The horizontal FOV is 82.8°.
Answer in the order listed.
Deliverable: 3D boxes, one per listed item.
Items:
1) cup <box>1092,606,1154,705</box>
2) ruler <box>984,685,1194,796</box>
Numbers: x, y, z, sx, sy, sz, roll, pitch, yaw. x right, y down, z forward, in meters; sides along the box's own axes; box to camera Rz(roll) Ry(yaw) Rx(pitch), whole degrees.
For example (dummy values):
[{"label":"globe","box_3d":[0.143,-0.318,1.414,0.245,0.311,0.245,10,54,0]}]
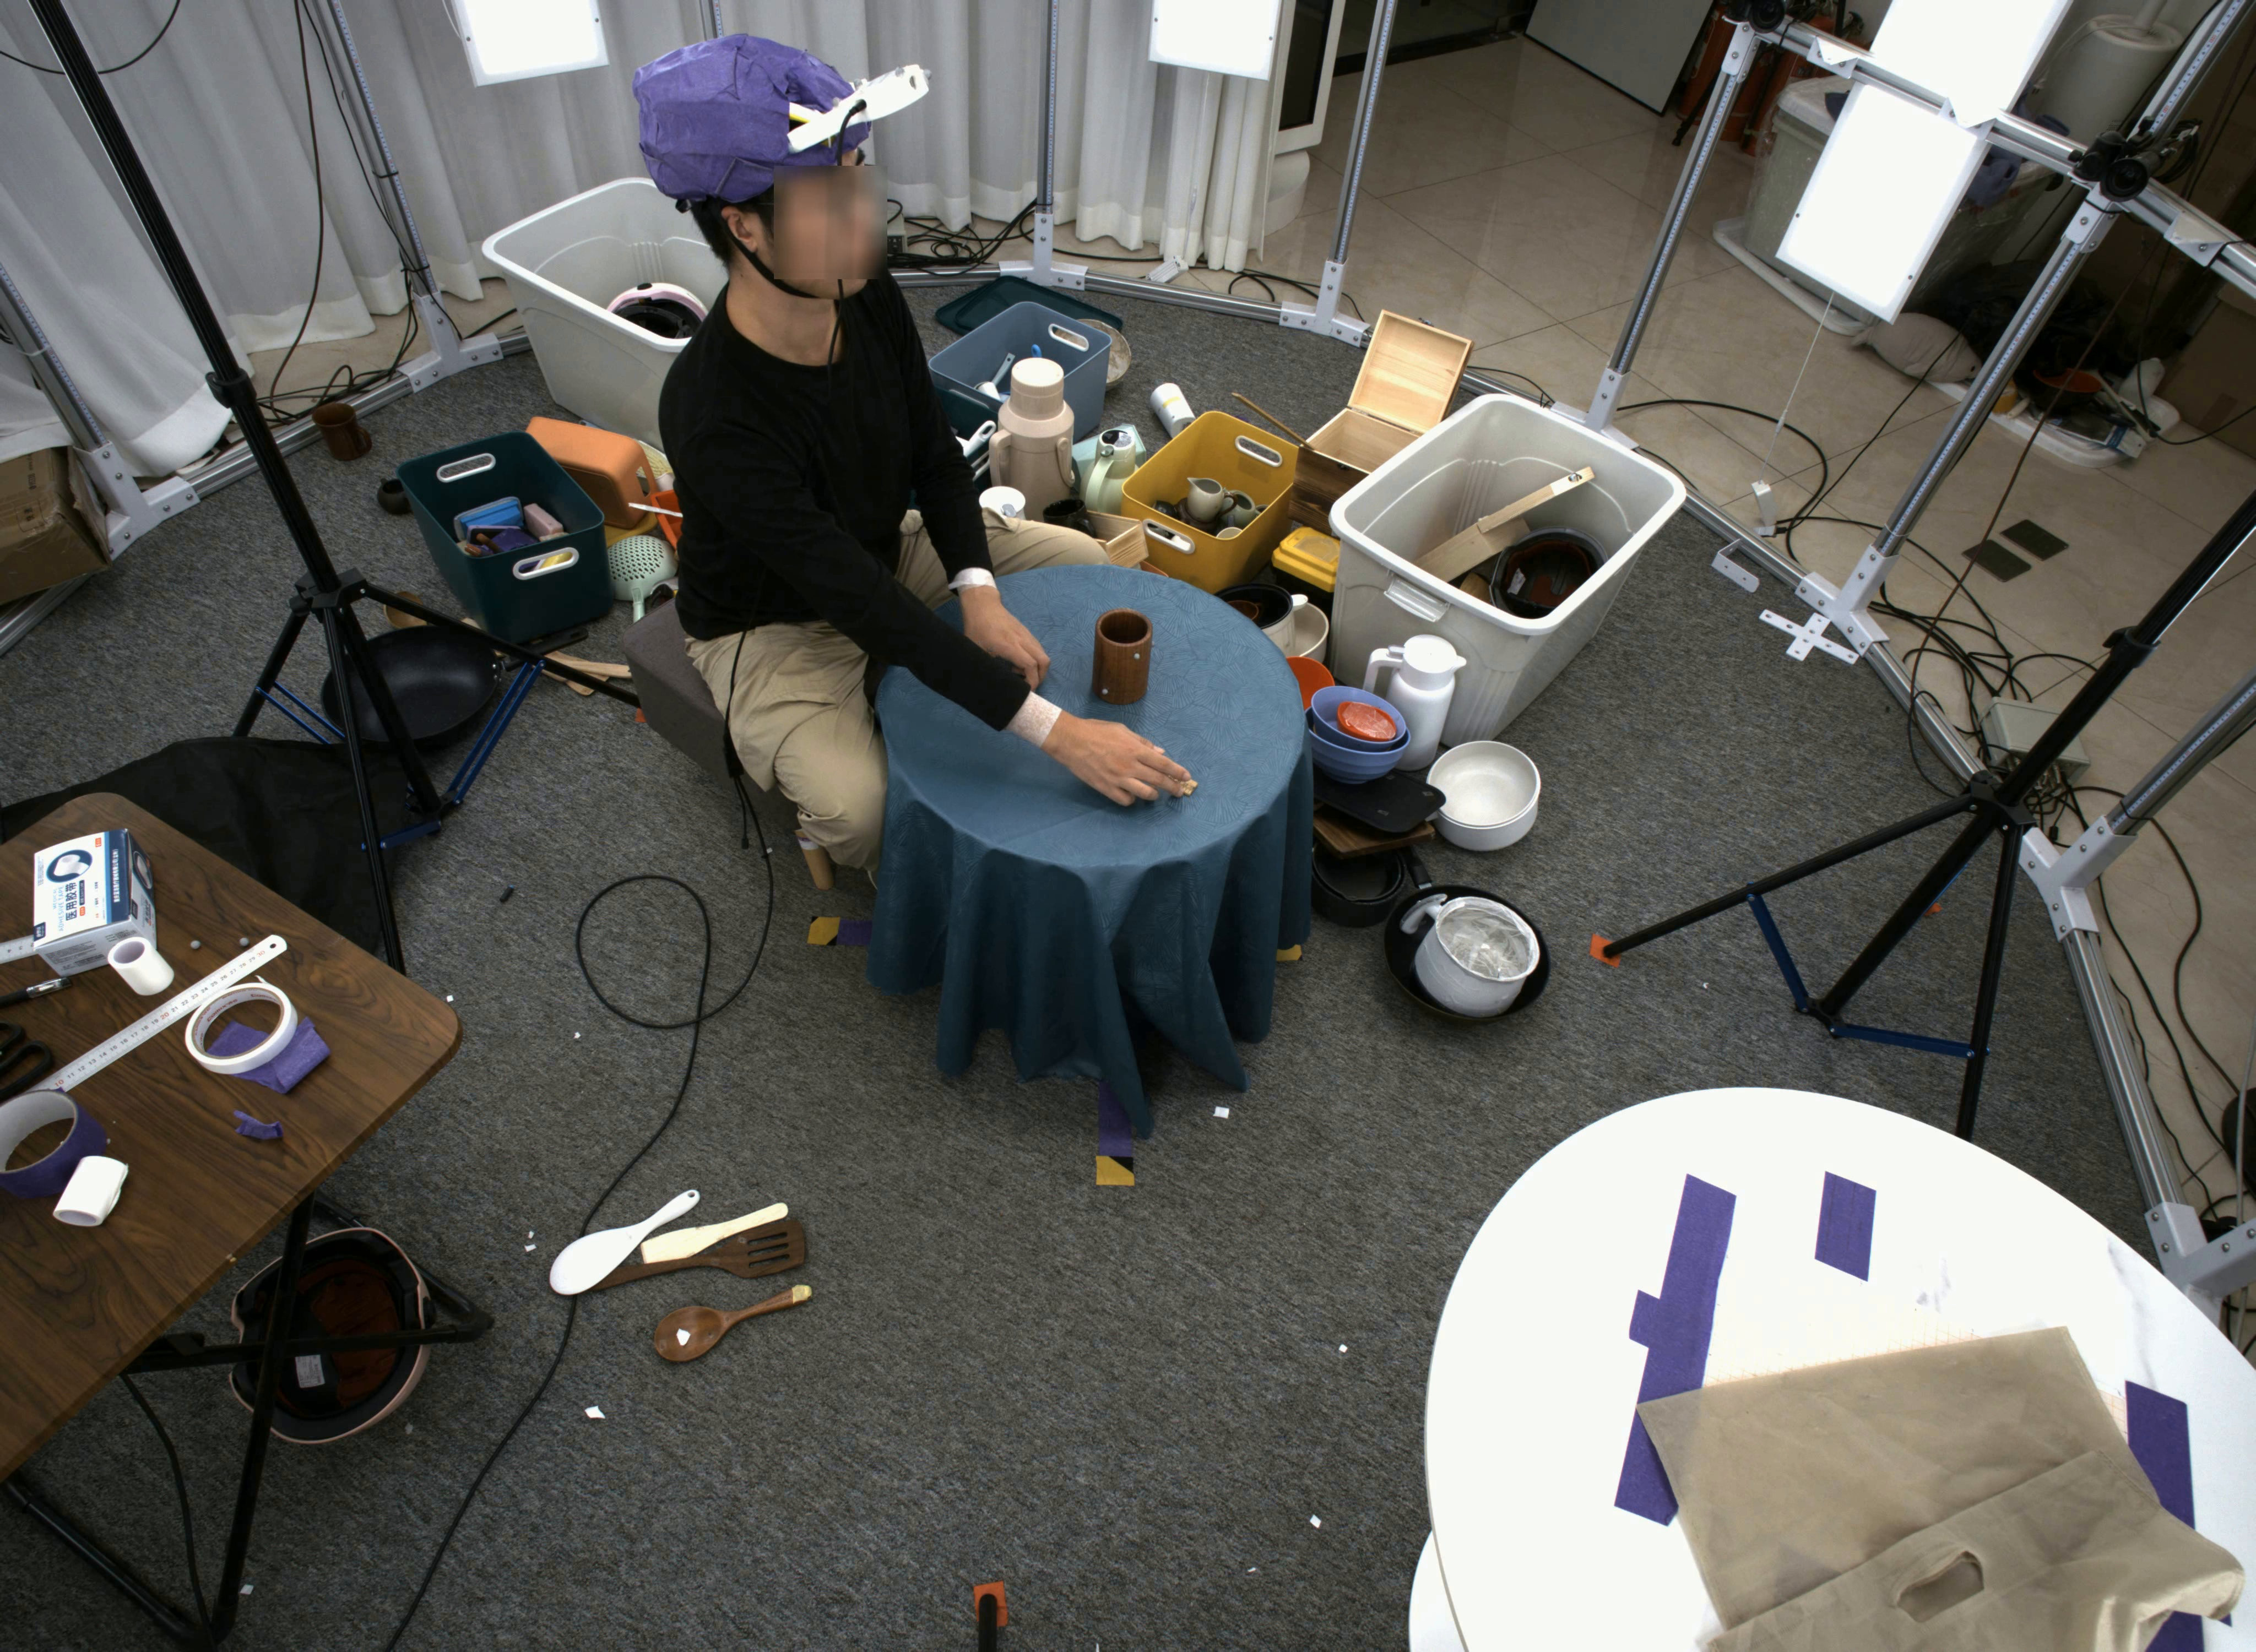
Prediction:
[{"label":"cup","box_3d":[-0.008,-0.239,1.801,0.087,0.115,0.090,2,48,-3]},{"label":"ruler","box_3d":[-0.057,-0.123,1.766,0.335,0.021,0.028,27,46,19]}]
